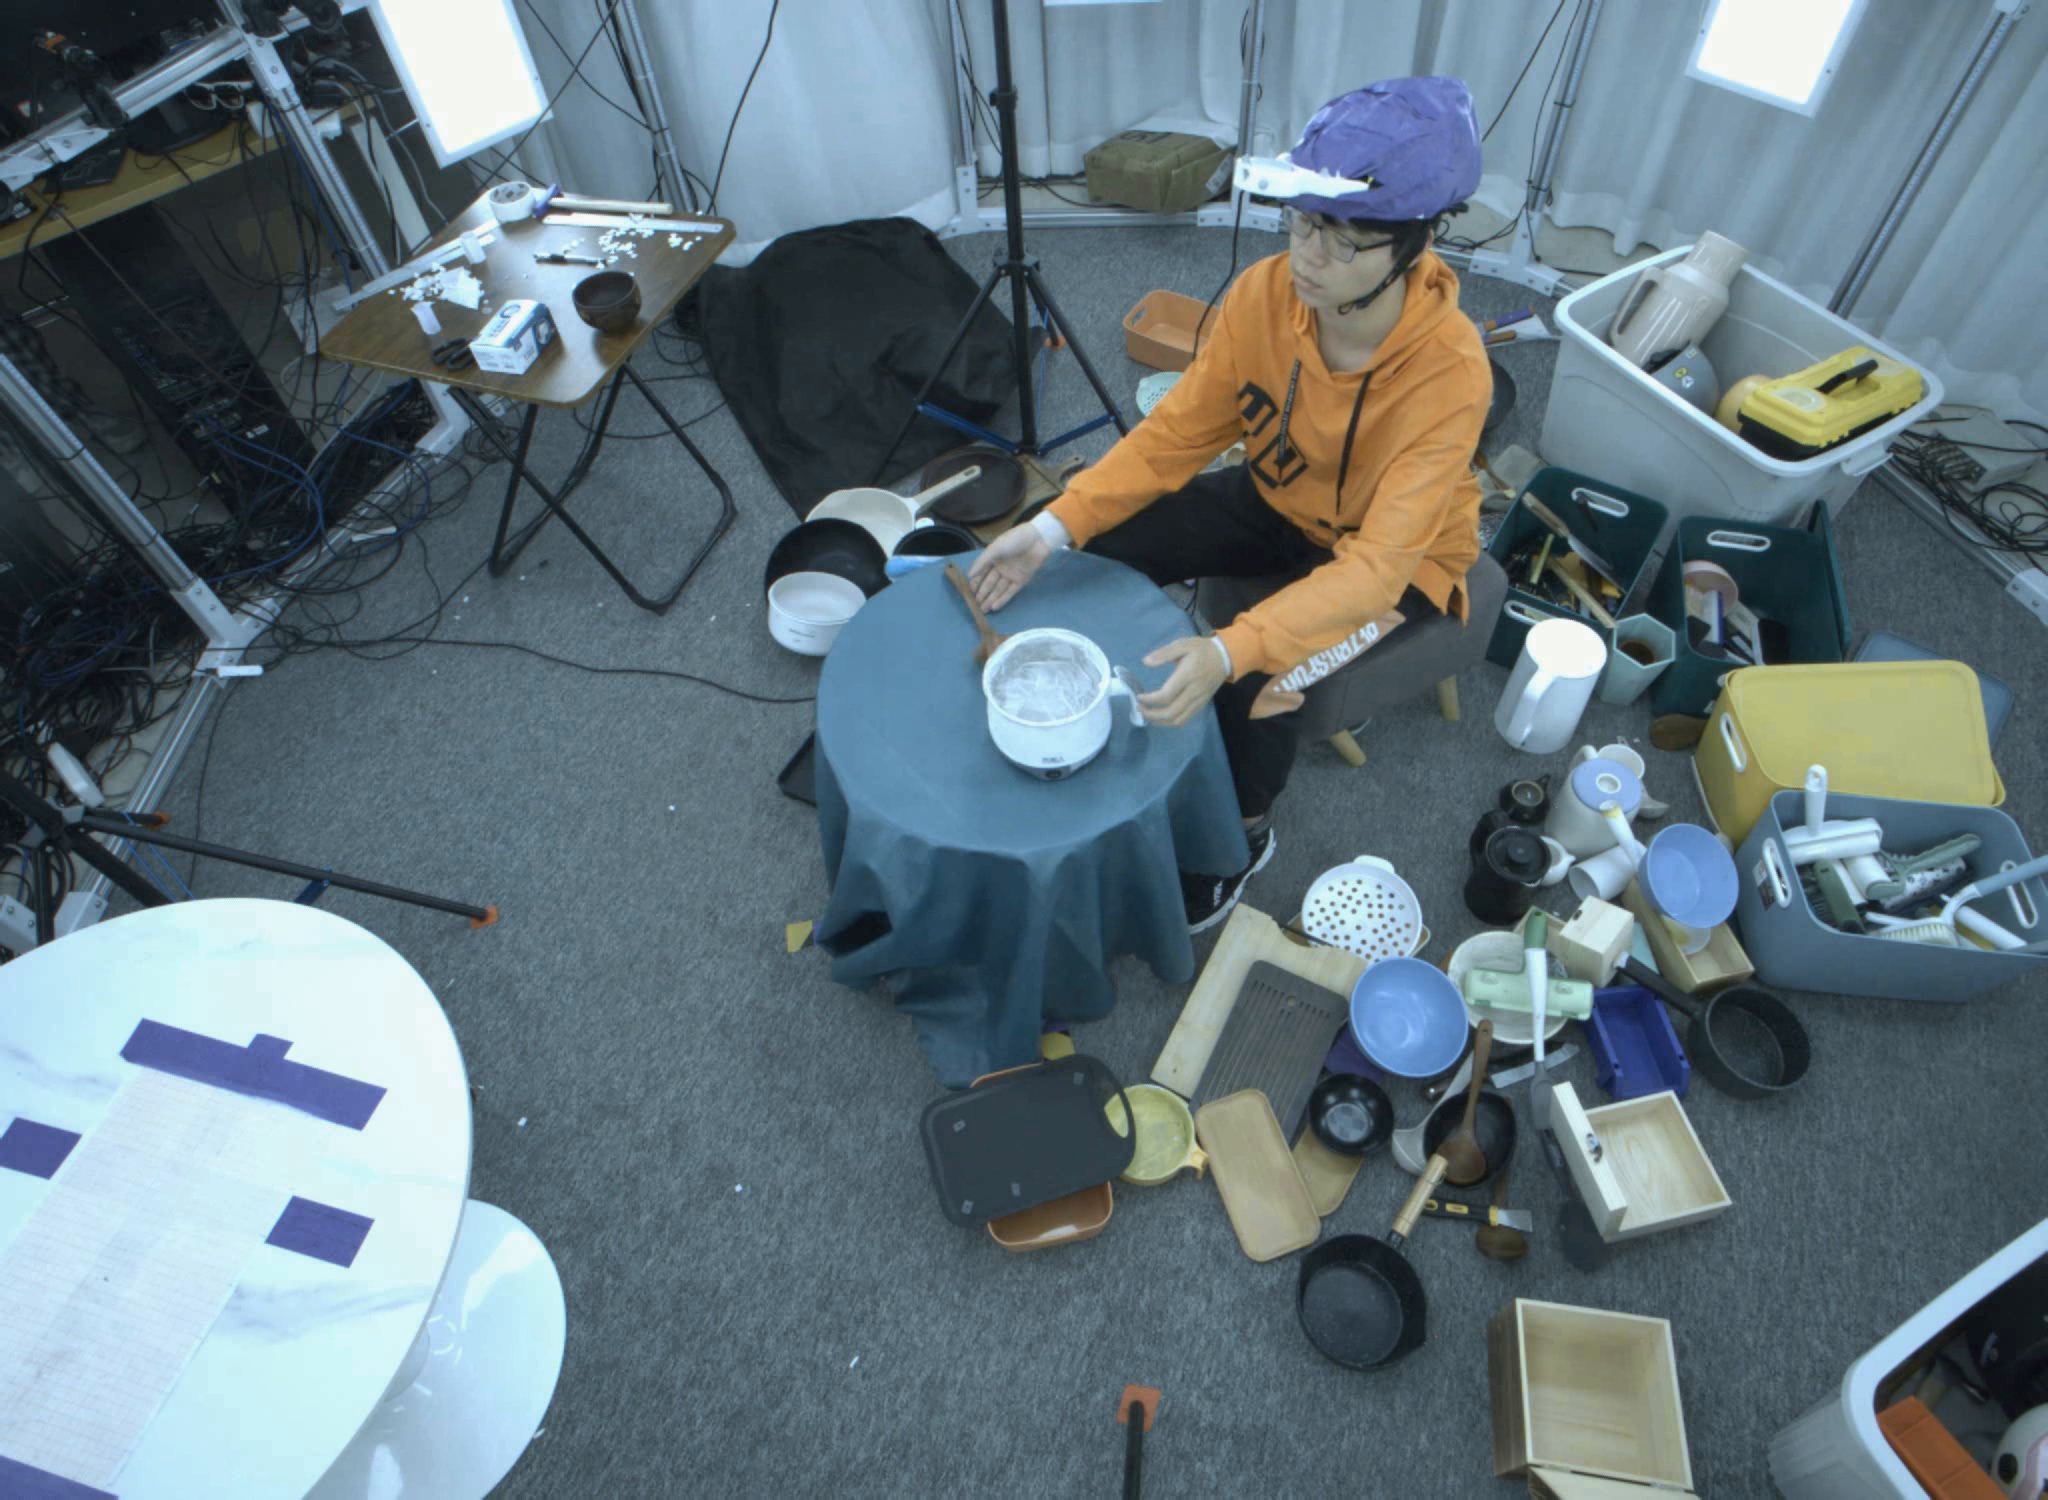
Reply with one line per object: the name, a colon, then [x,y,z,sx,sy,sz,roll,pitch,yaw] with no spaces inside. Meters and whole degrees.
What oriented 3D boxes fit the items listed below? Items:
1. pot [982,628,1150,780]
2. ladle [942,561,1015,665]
pot: [0.062,-0.068,1.748,0.234,0.138,0.176,-5,55,-1]
ladle: [-0.079,-0.225,1.910,0.077,0.066,0.255,-18,56,-13]
